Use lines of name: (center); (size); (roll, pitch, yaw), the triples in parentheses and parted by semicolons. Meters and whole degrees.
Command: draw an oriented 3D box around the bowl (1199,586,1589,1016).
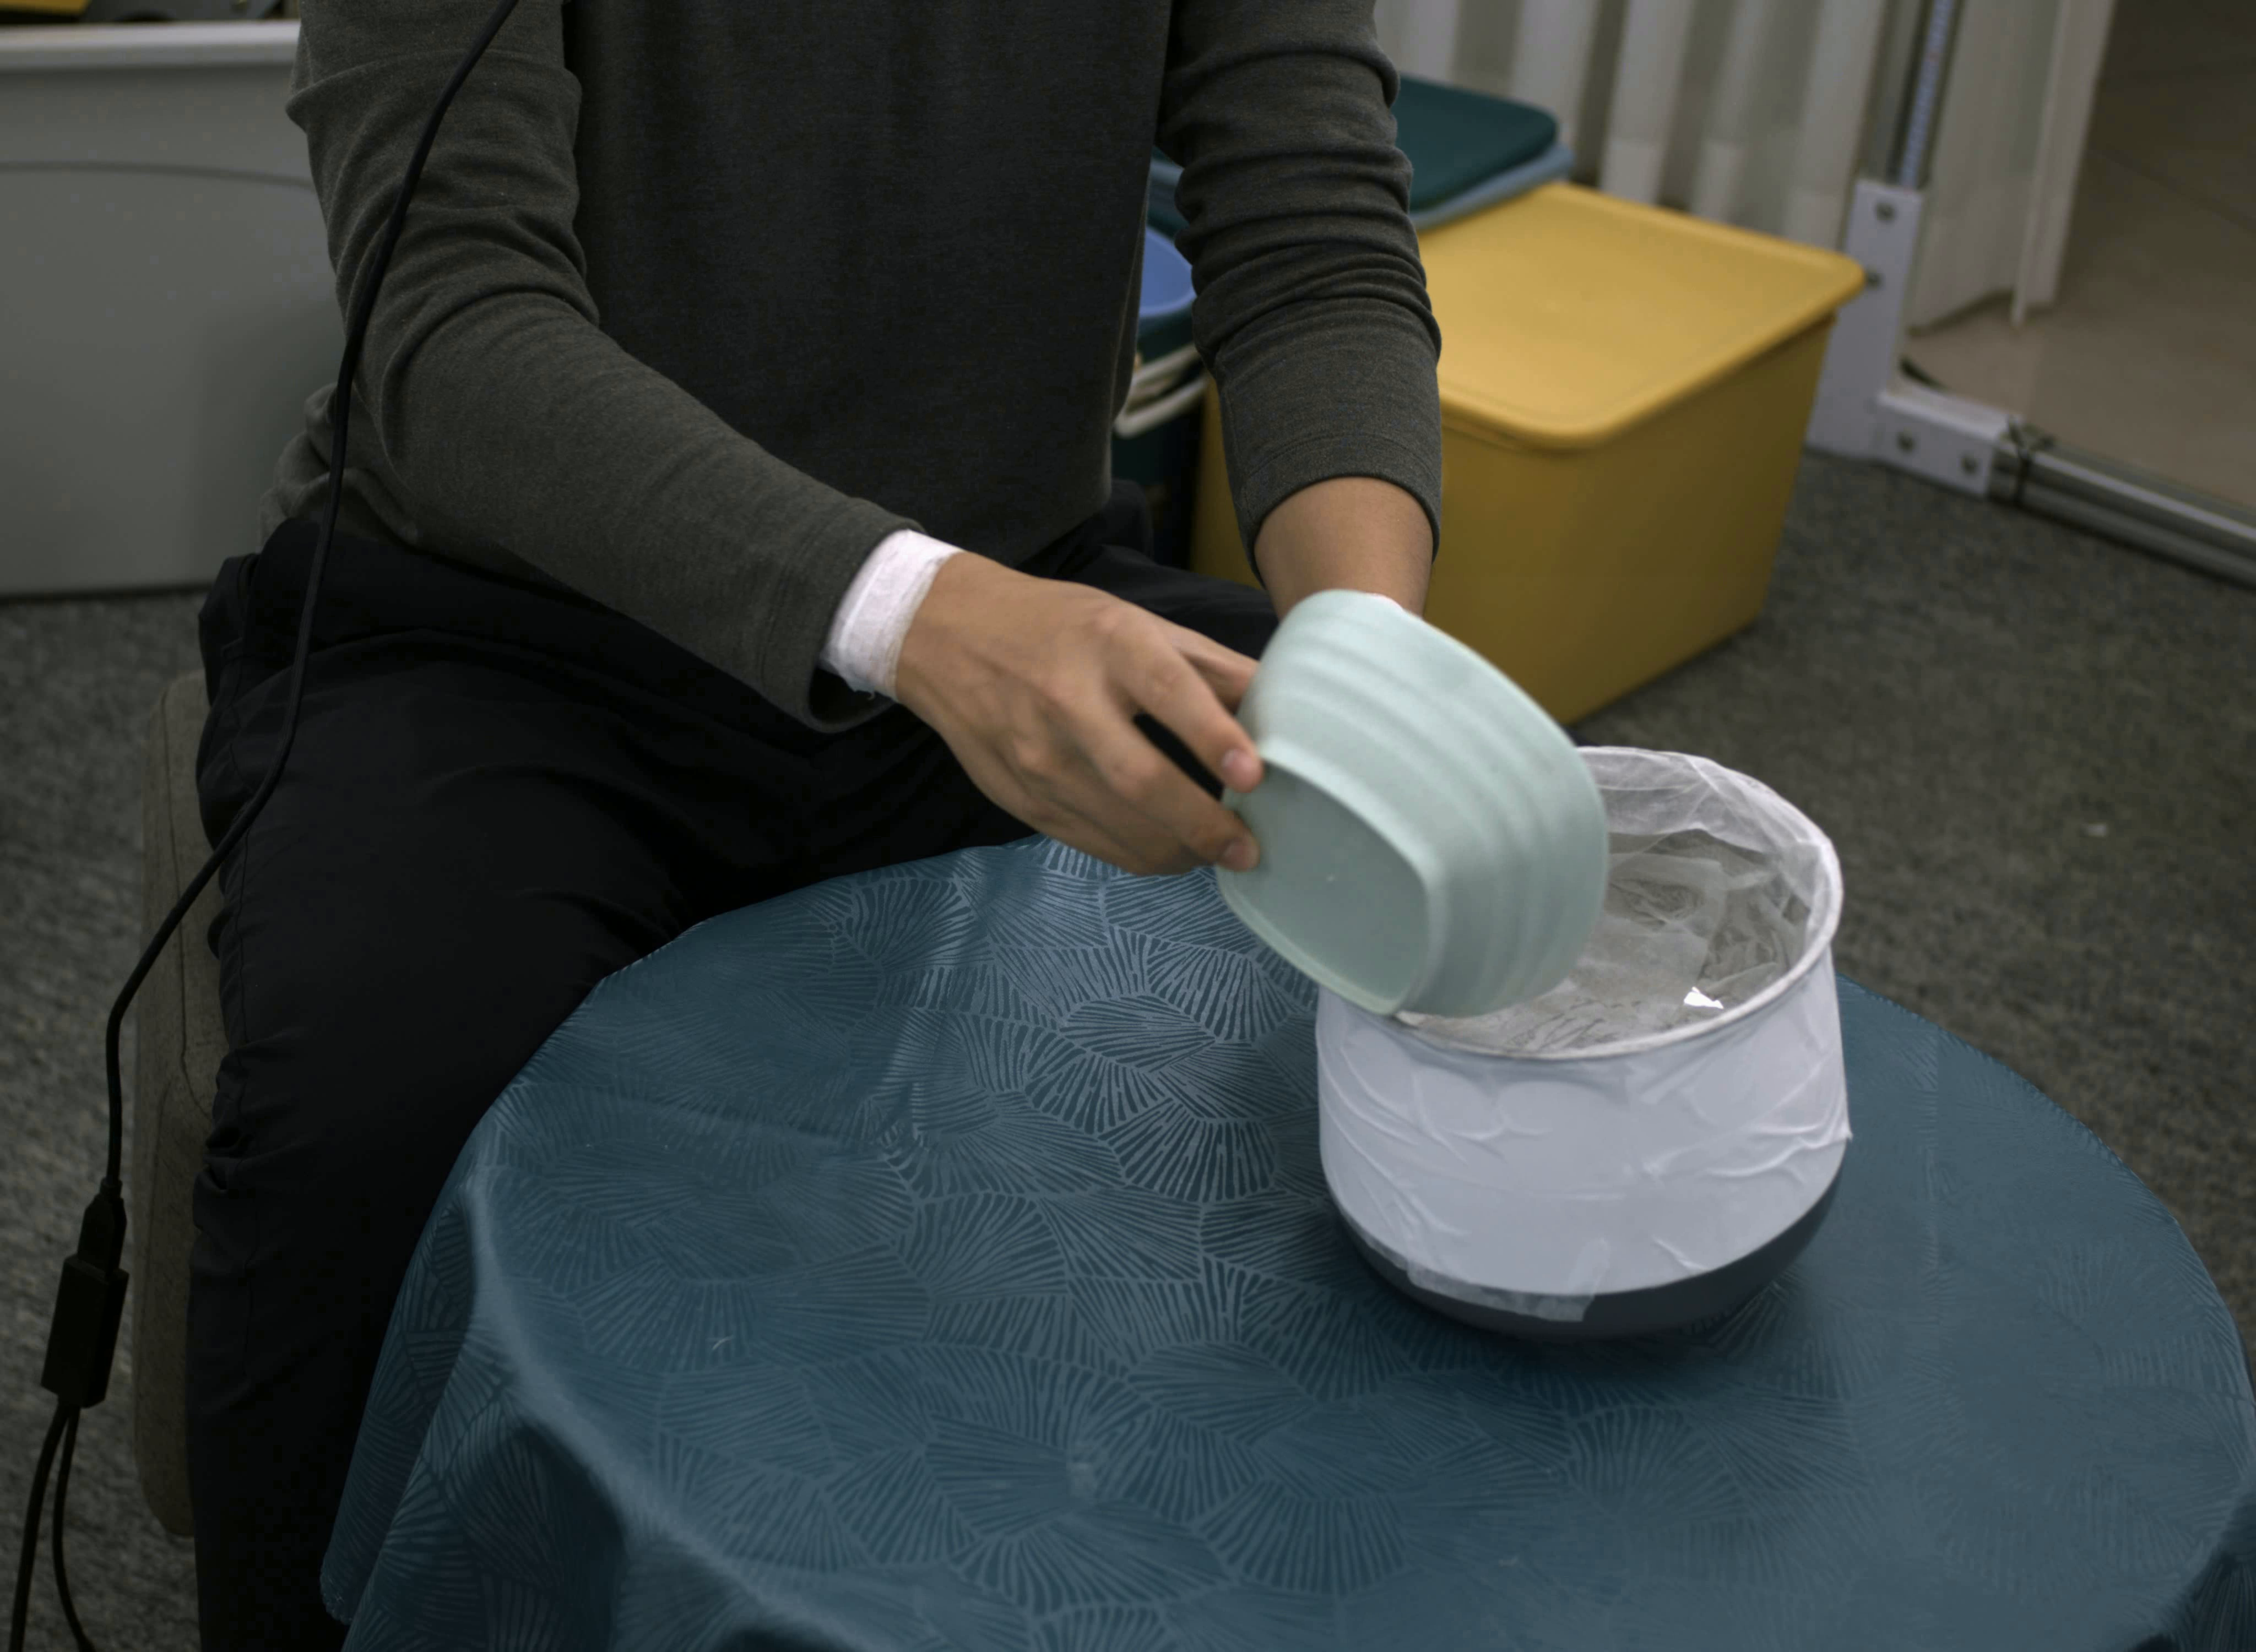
bowl: (0.073, 0.004, 1.671); (0.152, 0.150, 0.058); (27, 50, 34)

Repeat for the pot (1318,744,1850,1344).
pot: (0.135, 0.063, 1.783); (0.178, 0.136, 0.236); (-22, 36, -23)
